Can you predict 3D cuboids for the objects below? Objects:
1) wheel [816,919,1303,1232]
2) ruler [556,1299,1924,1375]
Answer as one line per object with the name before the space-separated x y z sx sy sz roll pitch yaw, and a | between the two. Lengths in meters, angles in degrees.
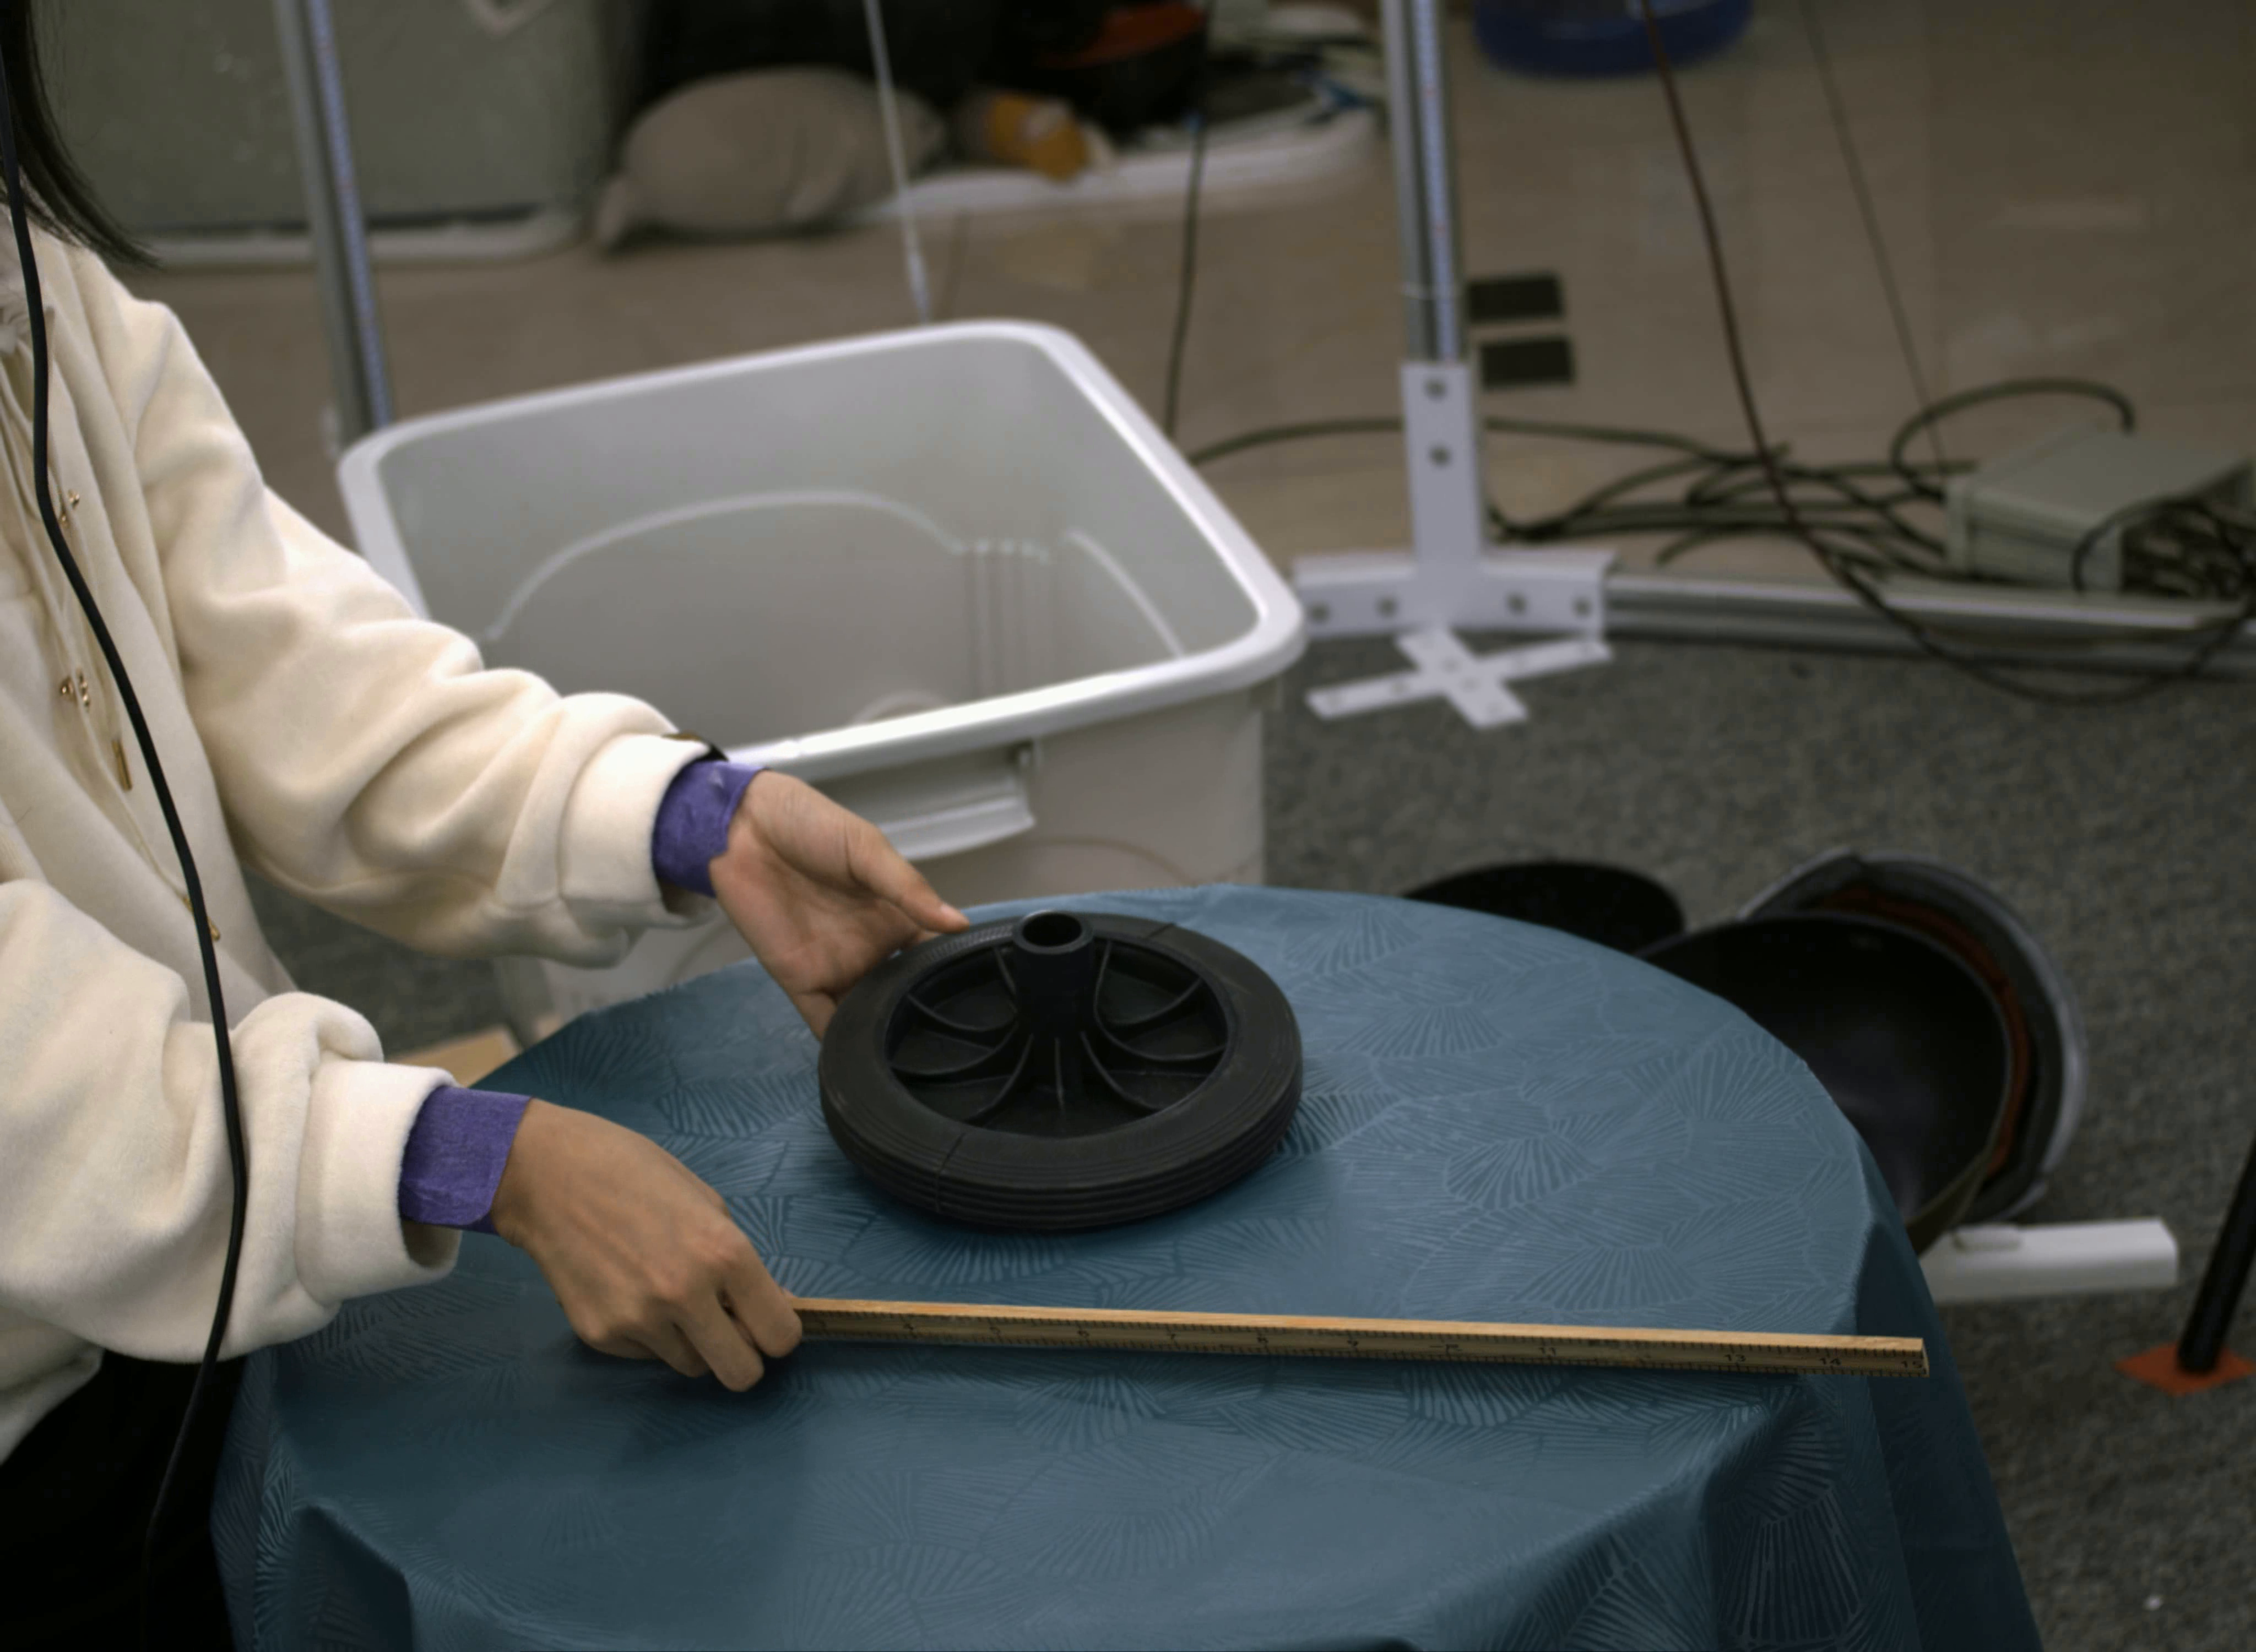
wheel | -0.027 0.077 2.180 0.186 0.080 0.187 -16 35 -20
ruler | 0.033 0.181 2.023 0.499 0.027 0.006 0 62 15
